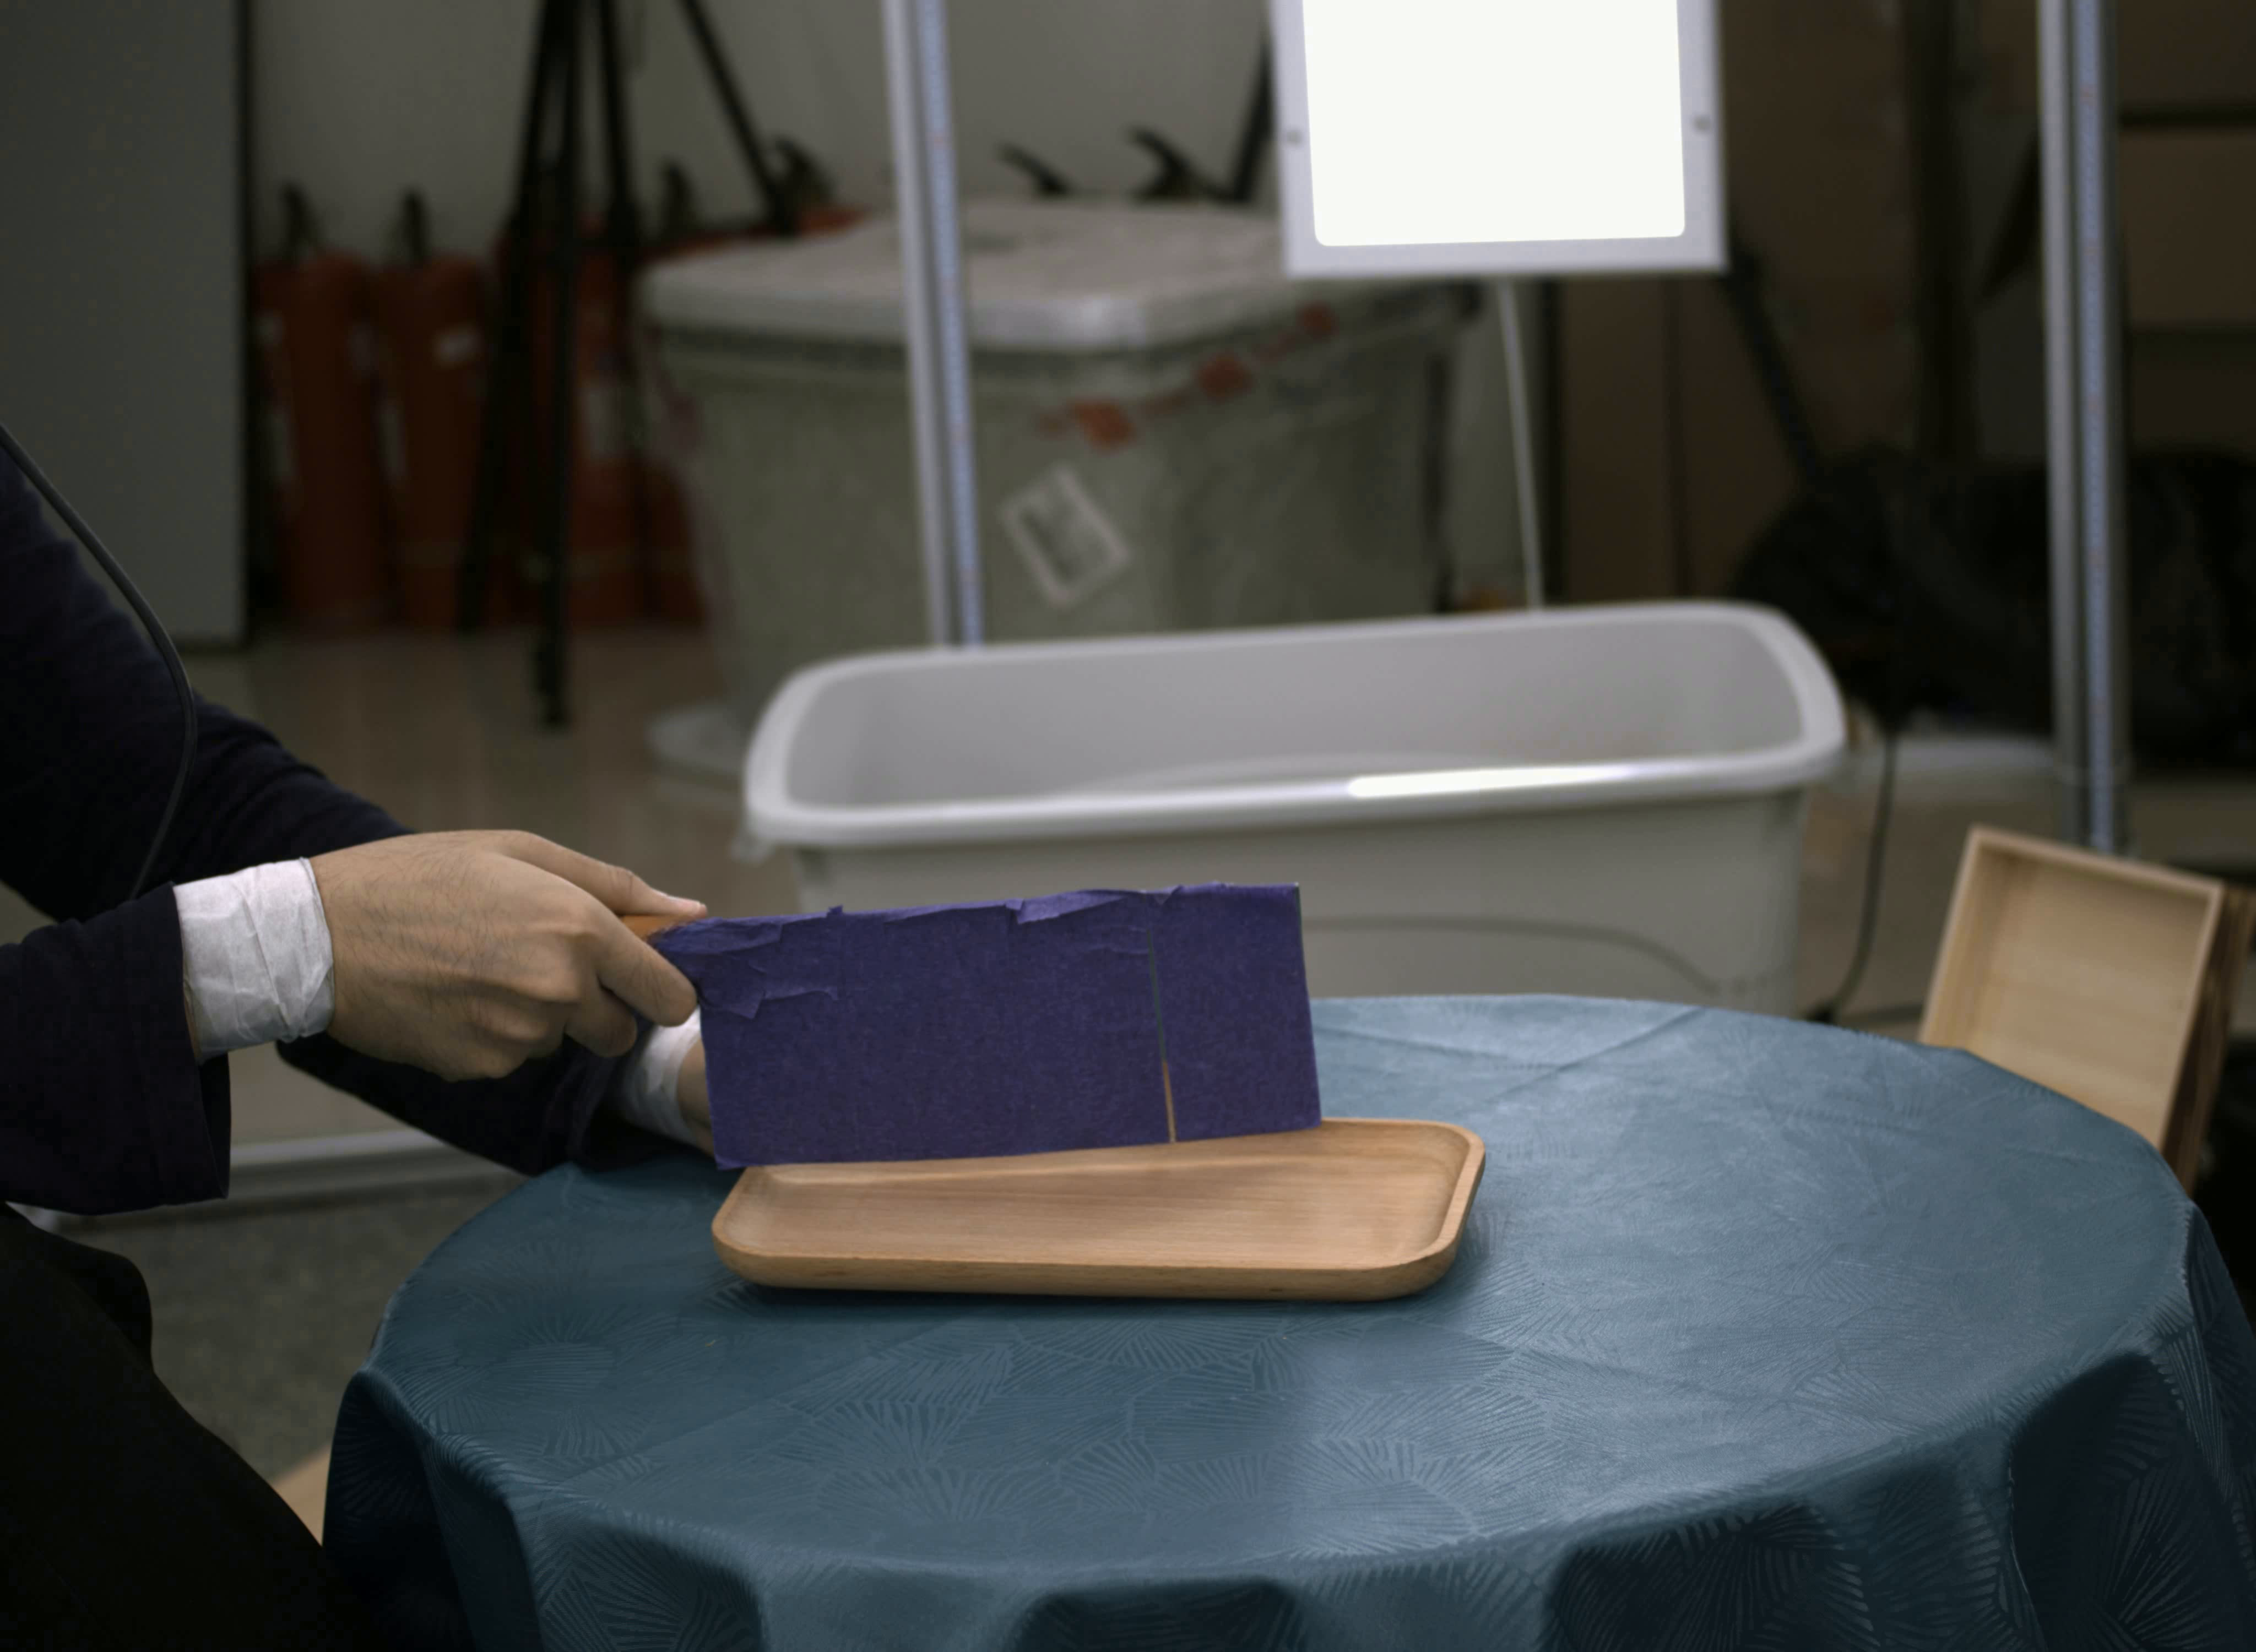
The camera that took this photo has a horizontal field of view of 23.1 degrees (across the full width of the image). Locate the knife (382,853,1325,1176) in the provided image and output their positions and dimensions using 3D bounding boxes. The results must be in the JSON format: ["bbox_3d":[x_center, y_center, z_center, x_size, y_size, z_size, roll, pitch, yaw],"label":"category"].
[{"bbox_3d":[-0.092,0.070,1.857,0.316,0.104,0.032,-4,15,8],"label":"knife"}]

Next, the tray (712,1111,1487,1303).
[{"bbox_3d":[-0.009,0.125,1.842,0.253,0.023,0.128,0,18,17],"label":"tray"}]
